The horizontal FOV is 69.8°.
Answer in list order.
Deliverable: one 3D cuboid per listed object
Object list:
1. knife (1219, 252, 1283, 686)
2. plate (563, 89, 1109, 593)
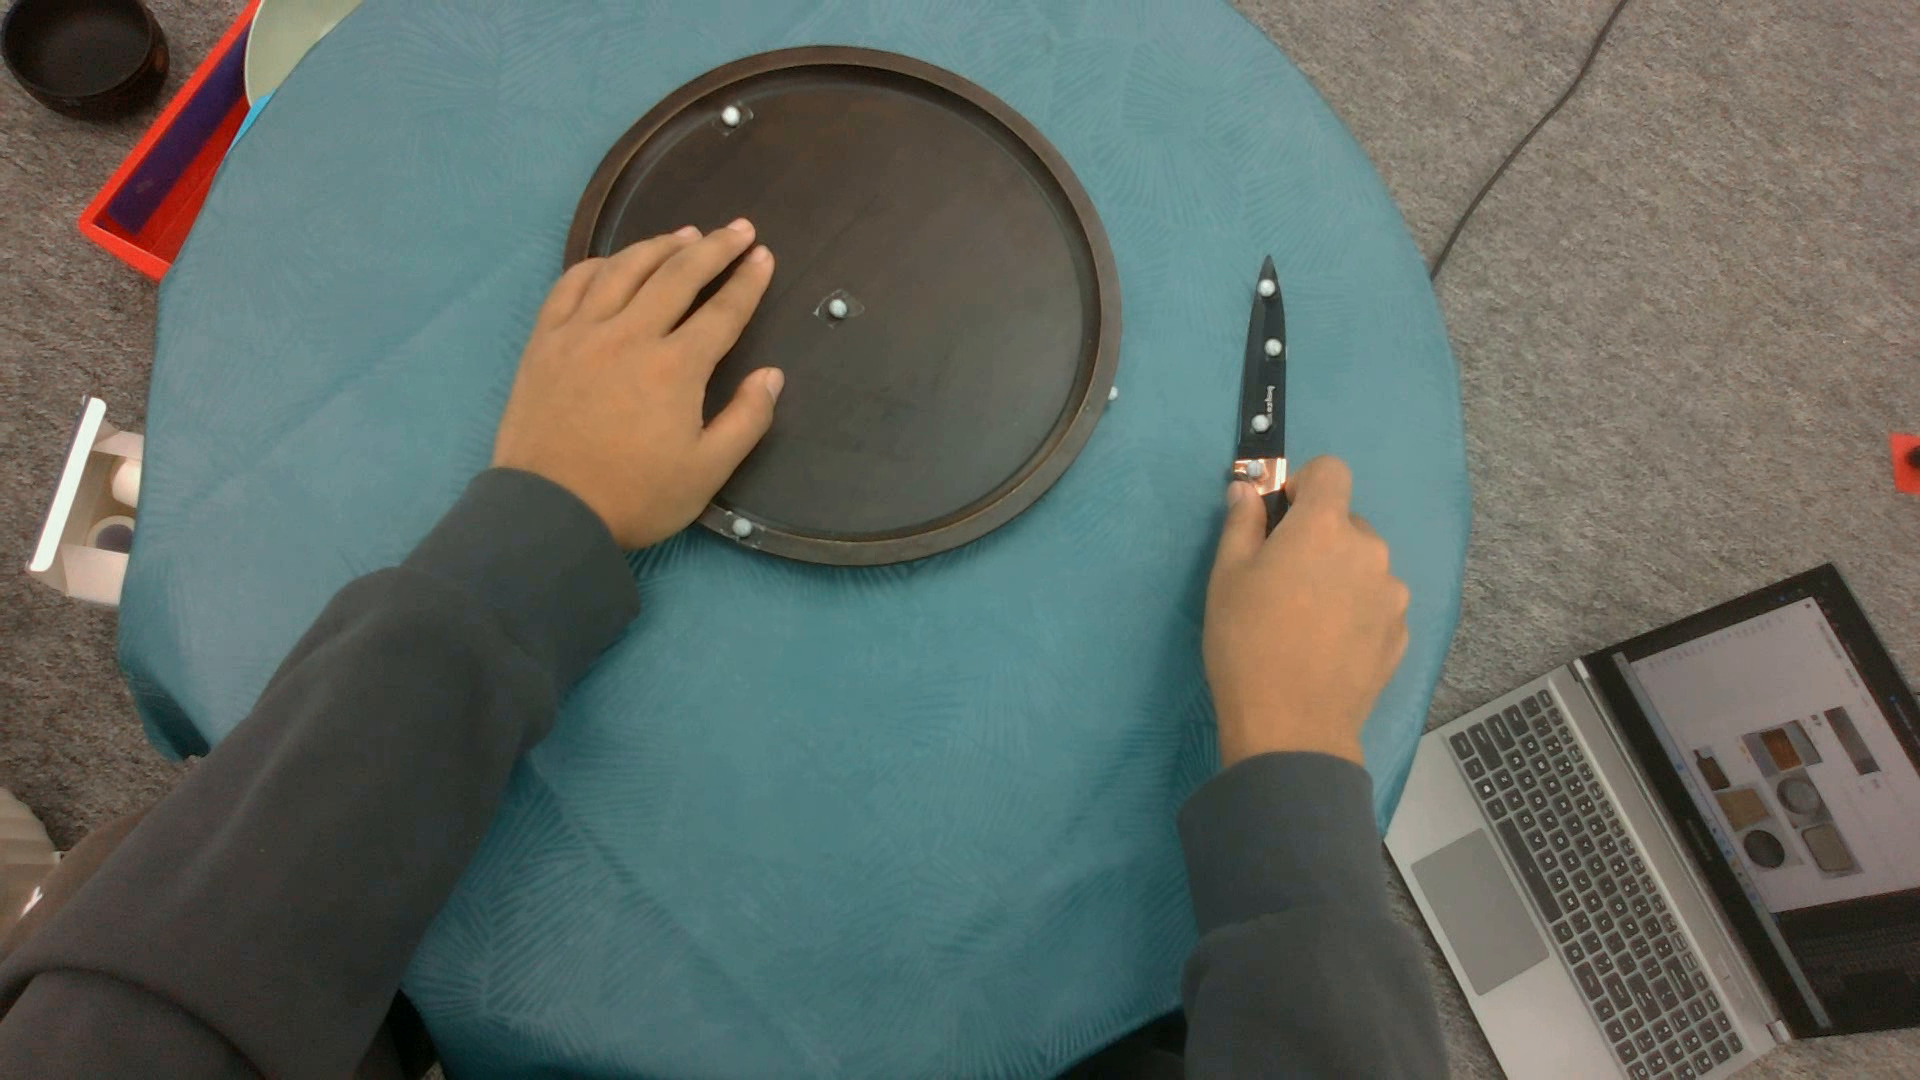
[{"bbox_3d":[0.139,-0.040,0.660,0.026,0.017,0.226,-5,69,20],"label":"knife"},{"bbox_3d":[-0.055,-0.097,0.647,0.255,0.029,0.255,2,75,-8],"label":"plate"}]
